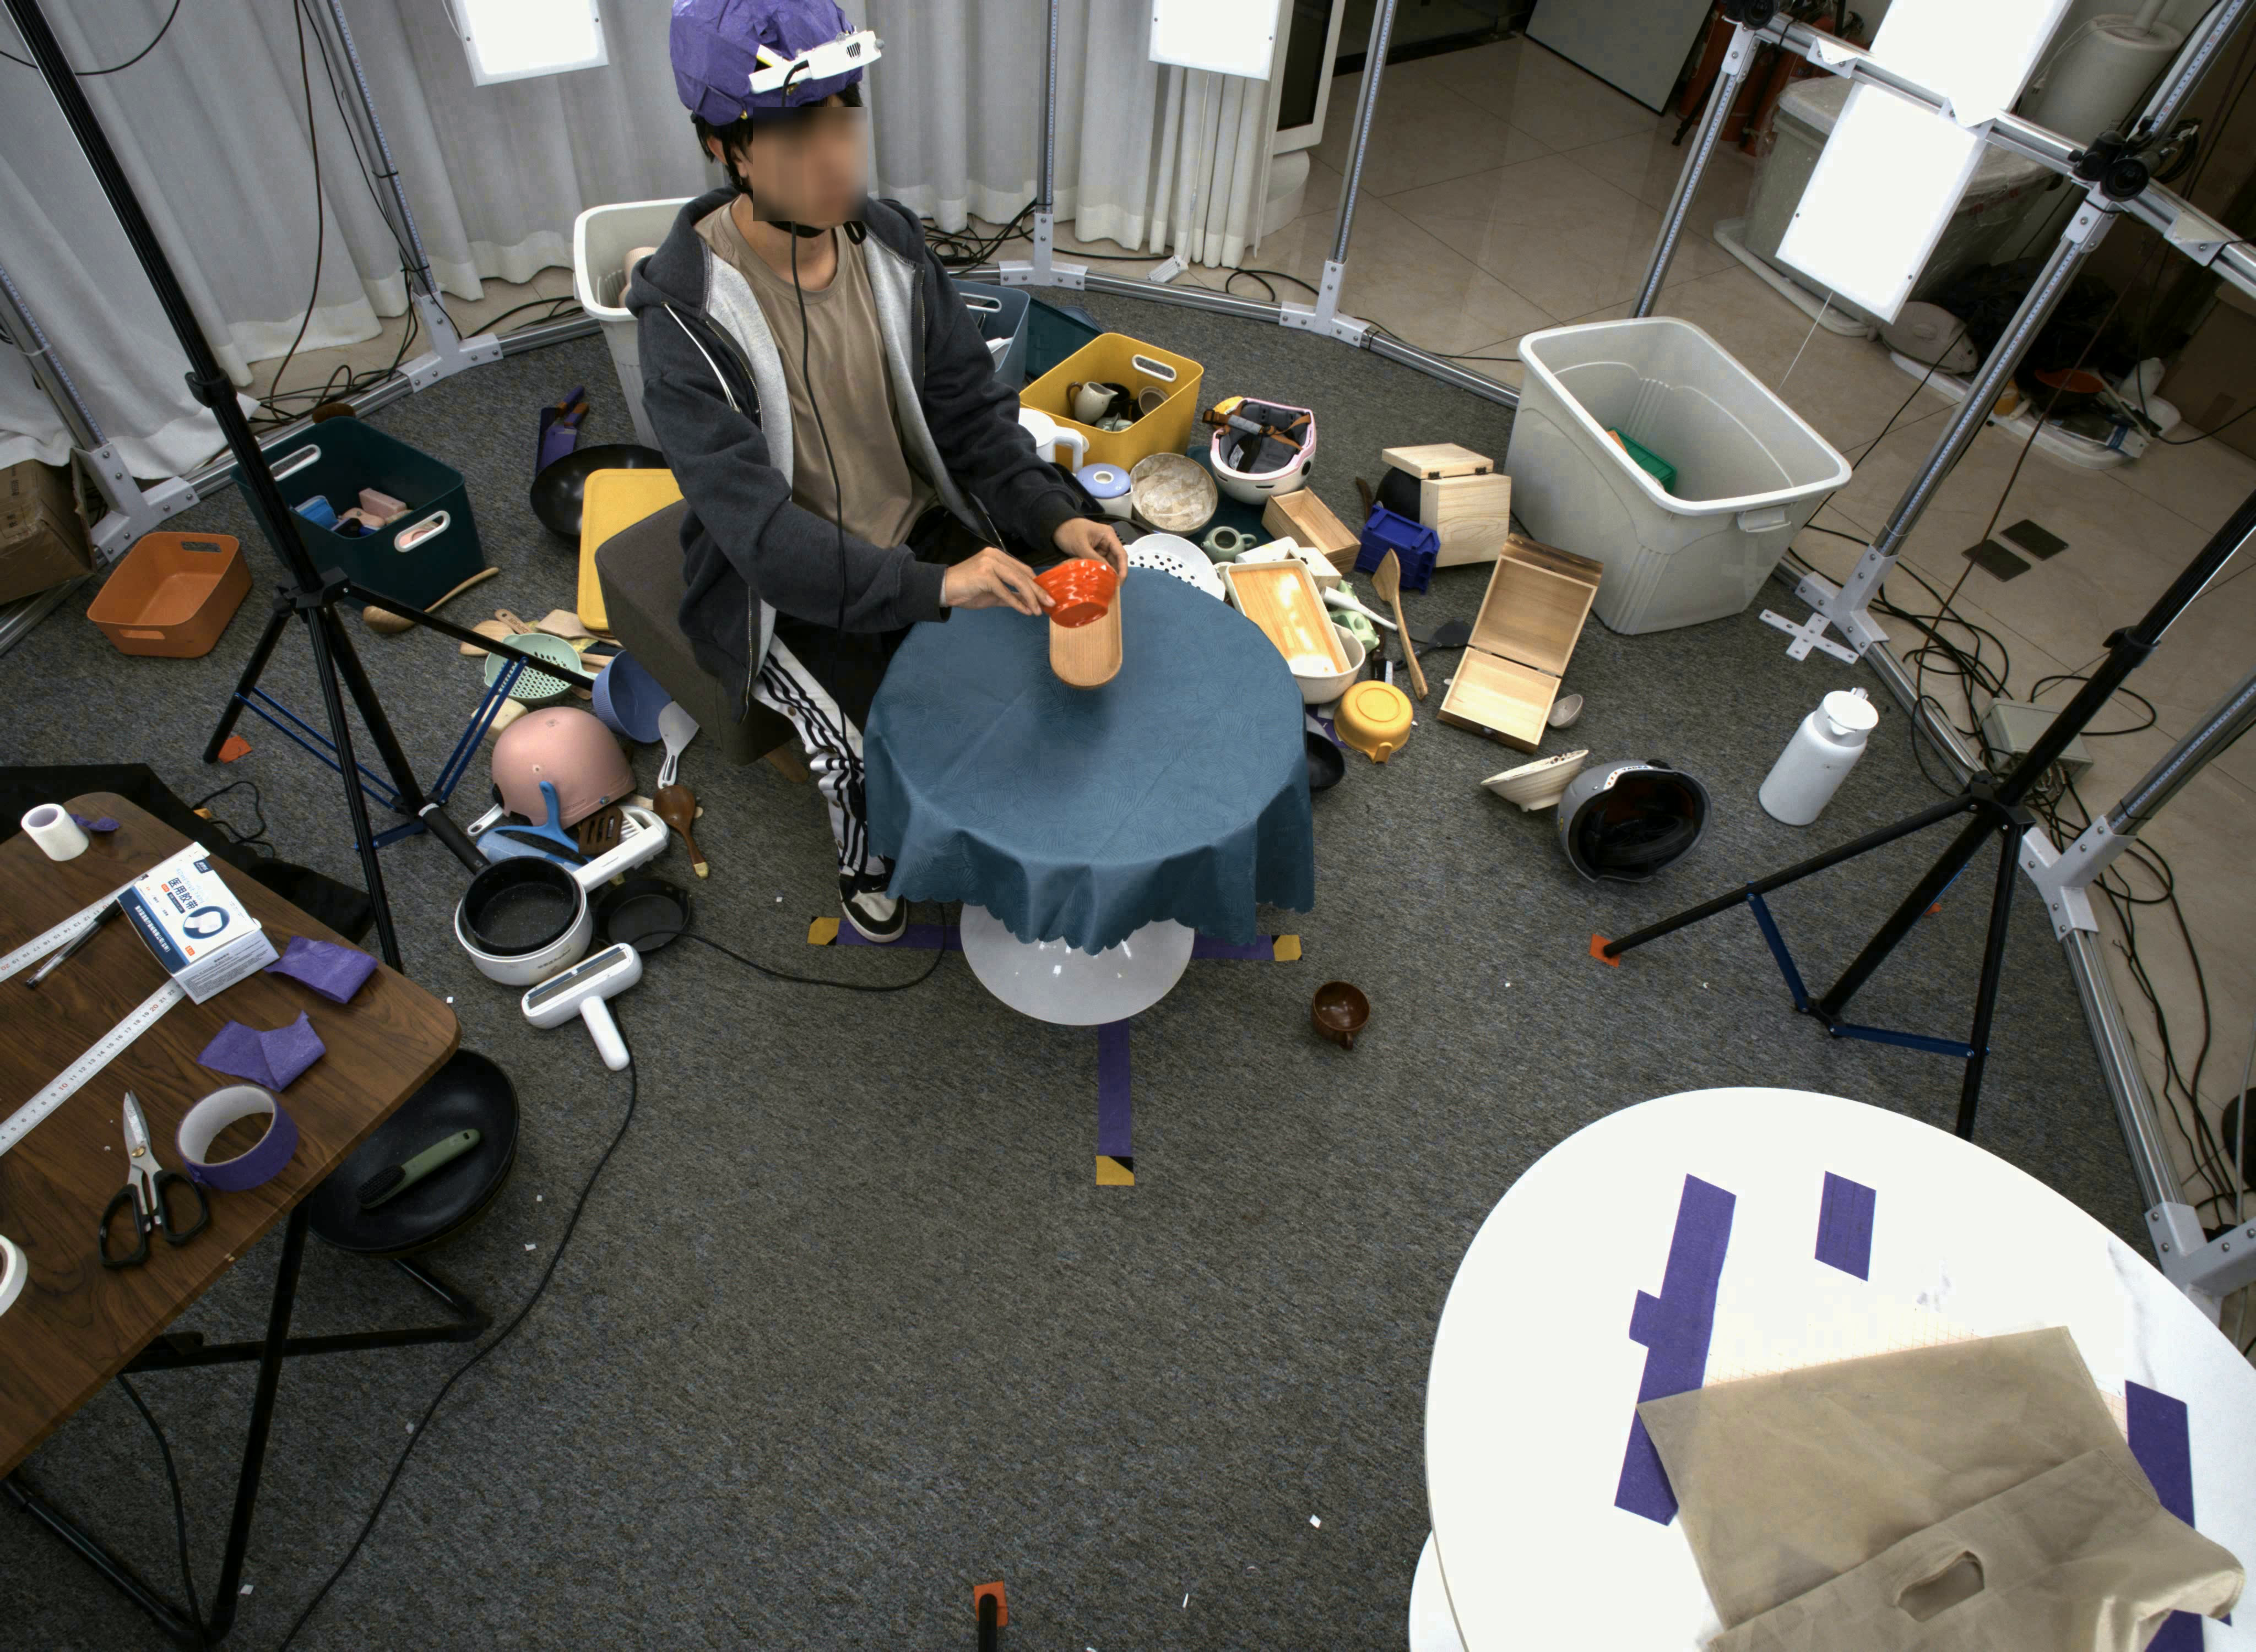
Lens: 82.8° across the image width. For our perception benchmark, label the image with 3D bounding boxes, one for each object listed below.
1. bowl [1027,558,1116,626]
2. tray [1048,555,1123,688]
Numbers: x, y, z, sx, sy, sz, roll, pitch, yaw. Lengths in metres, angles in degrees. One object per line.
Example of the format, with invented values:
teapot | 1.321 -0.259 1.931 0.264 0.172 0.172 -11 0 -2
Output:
bowl | -0.068 -0.297 1.664 0.119 0.117 0.052 -9 77 -13
tray | -0.061 -0.290 1.810 0.101 0.020 0.236 -2 57 -3
